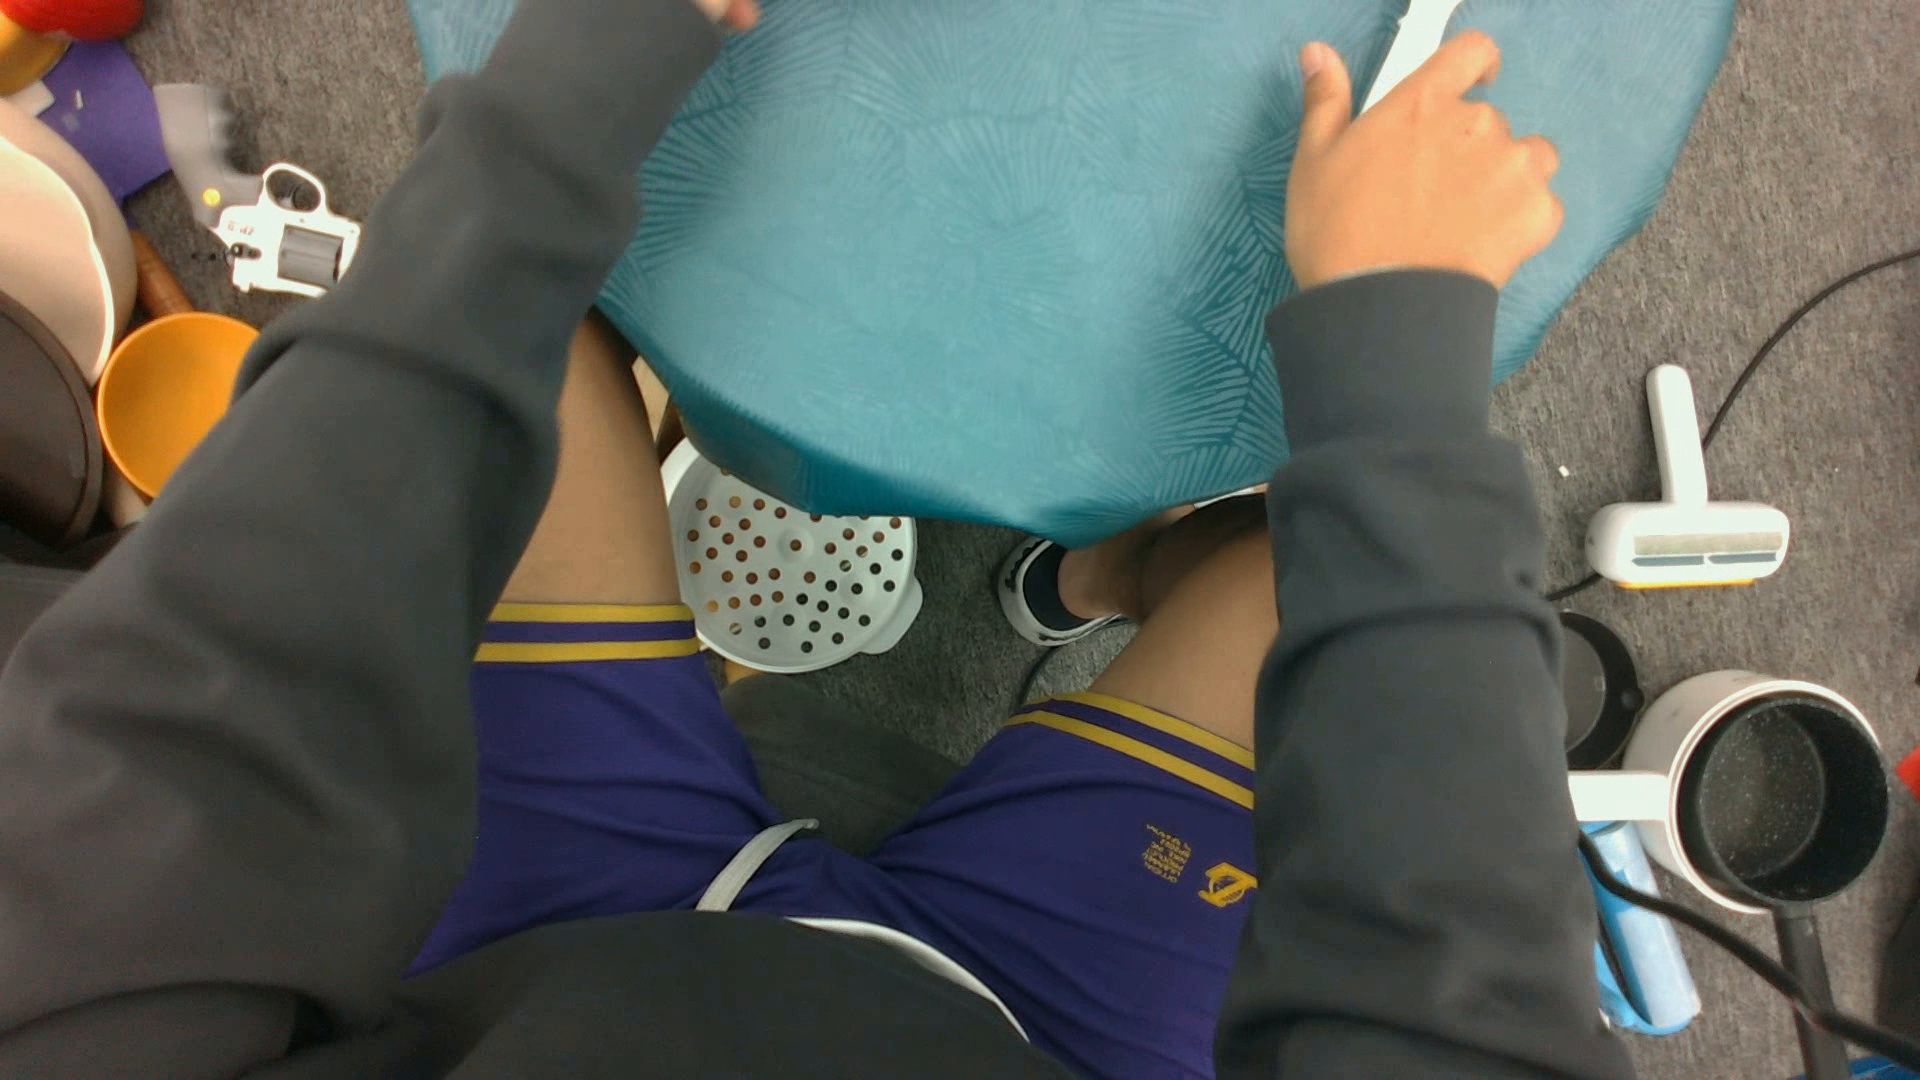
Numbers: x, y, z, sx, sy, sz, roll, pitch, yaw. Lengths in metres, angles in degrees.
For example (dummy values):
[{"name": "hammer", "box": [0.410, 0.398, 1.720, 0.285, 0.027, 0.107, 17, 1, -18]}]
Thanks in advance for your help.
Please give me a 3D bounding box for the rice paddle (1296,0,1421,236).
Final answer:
[{"name": "rice paddle", "box": [0.190, -0.235, 0.593, 0.069, 0.029, 0.205, 16, 94, -11]}]
